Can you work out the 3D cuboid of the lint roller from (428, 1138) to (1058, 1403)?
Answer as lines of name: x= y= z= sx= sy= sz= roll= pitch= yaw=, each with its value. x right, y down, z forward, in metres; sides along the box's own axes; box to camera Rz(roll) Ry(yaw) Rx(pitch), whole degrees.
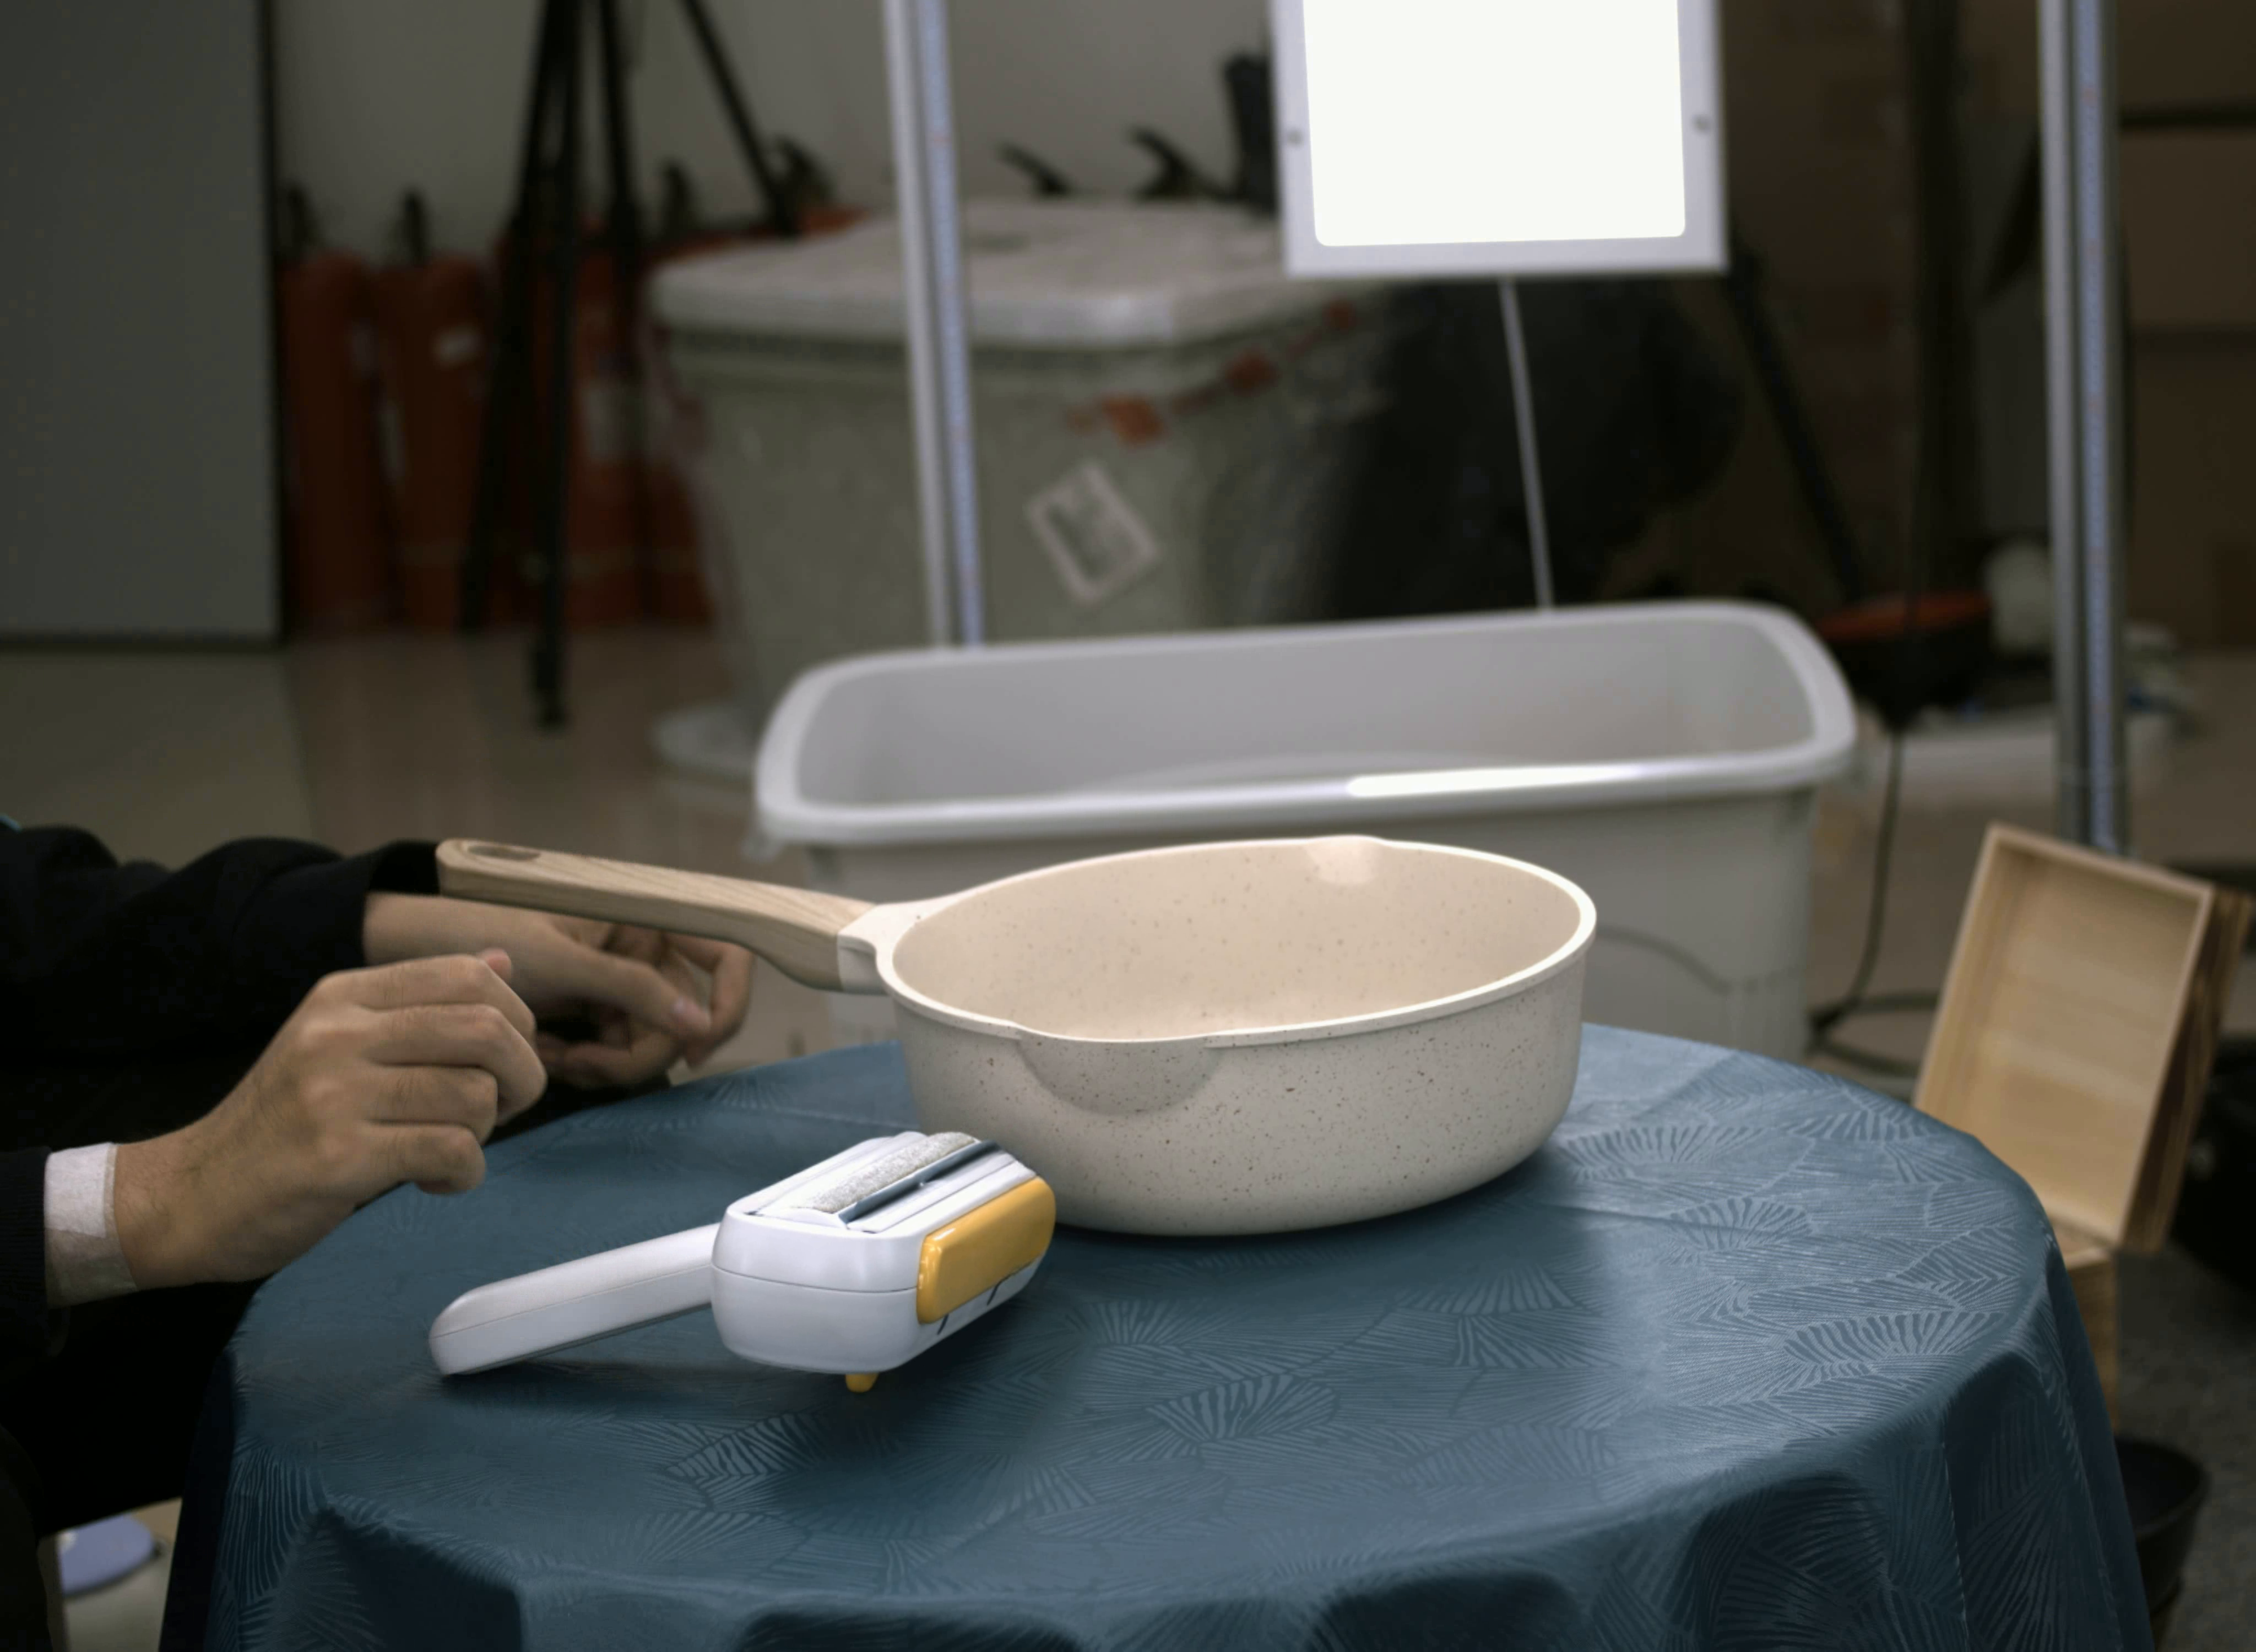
lint roller: x=-0.133 y=0.142 z=1.739 sx=0.195 sy=0.074 sz=0.189 roll=-2 pitch=8 yaw=19

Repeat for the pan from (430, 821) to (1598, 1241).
pan: x=-0.045 y=0.065 z=1.953 sx=0.441 sy=0.102 sz=0.258 roll=1 pitch=17 yaw=22
